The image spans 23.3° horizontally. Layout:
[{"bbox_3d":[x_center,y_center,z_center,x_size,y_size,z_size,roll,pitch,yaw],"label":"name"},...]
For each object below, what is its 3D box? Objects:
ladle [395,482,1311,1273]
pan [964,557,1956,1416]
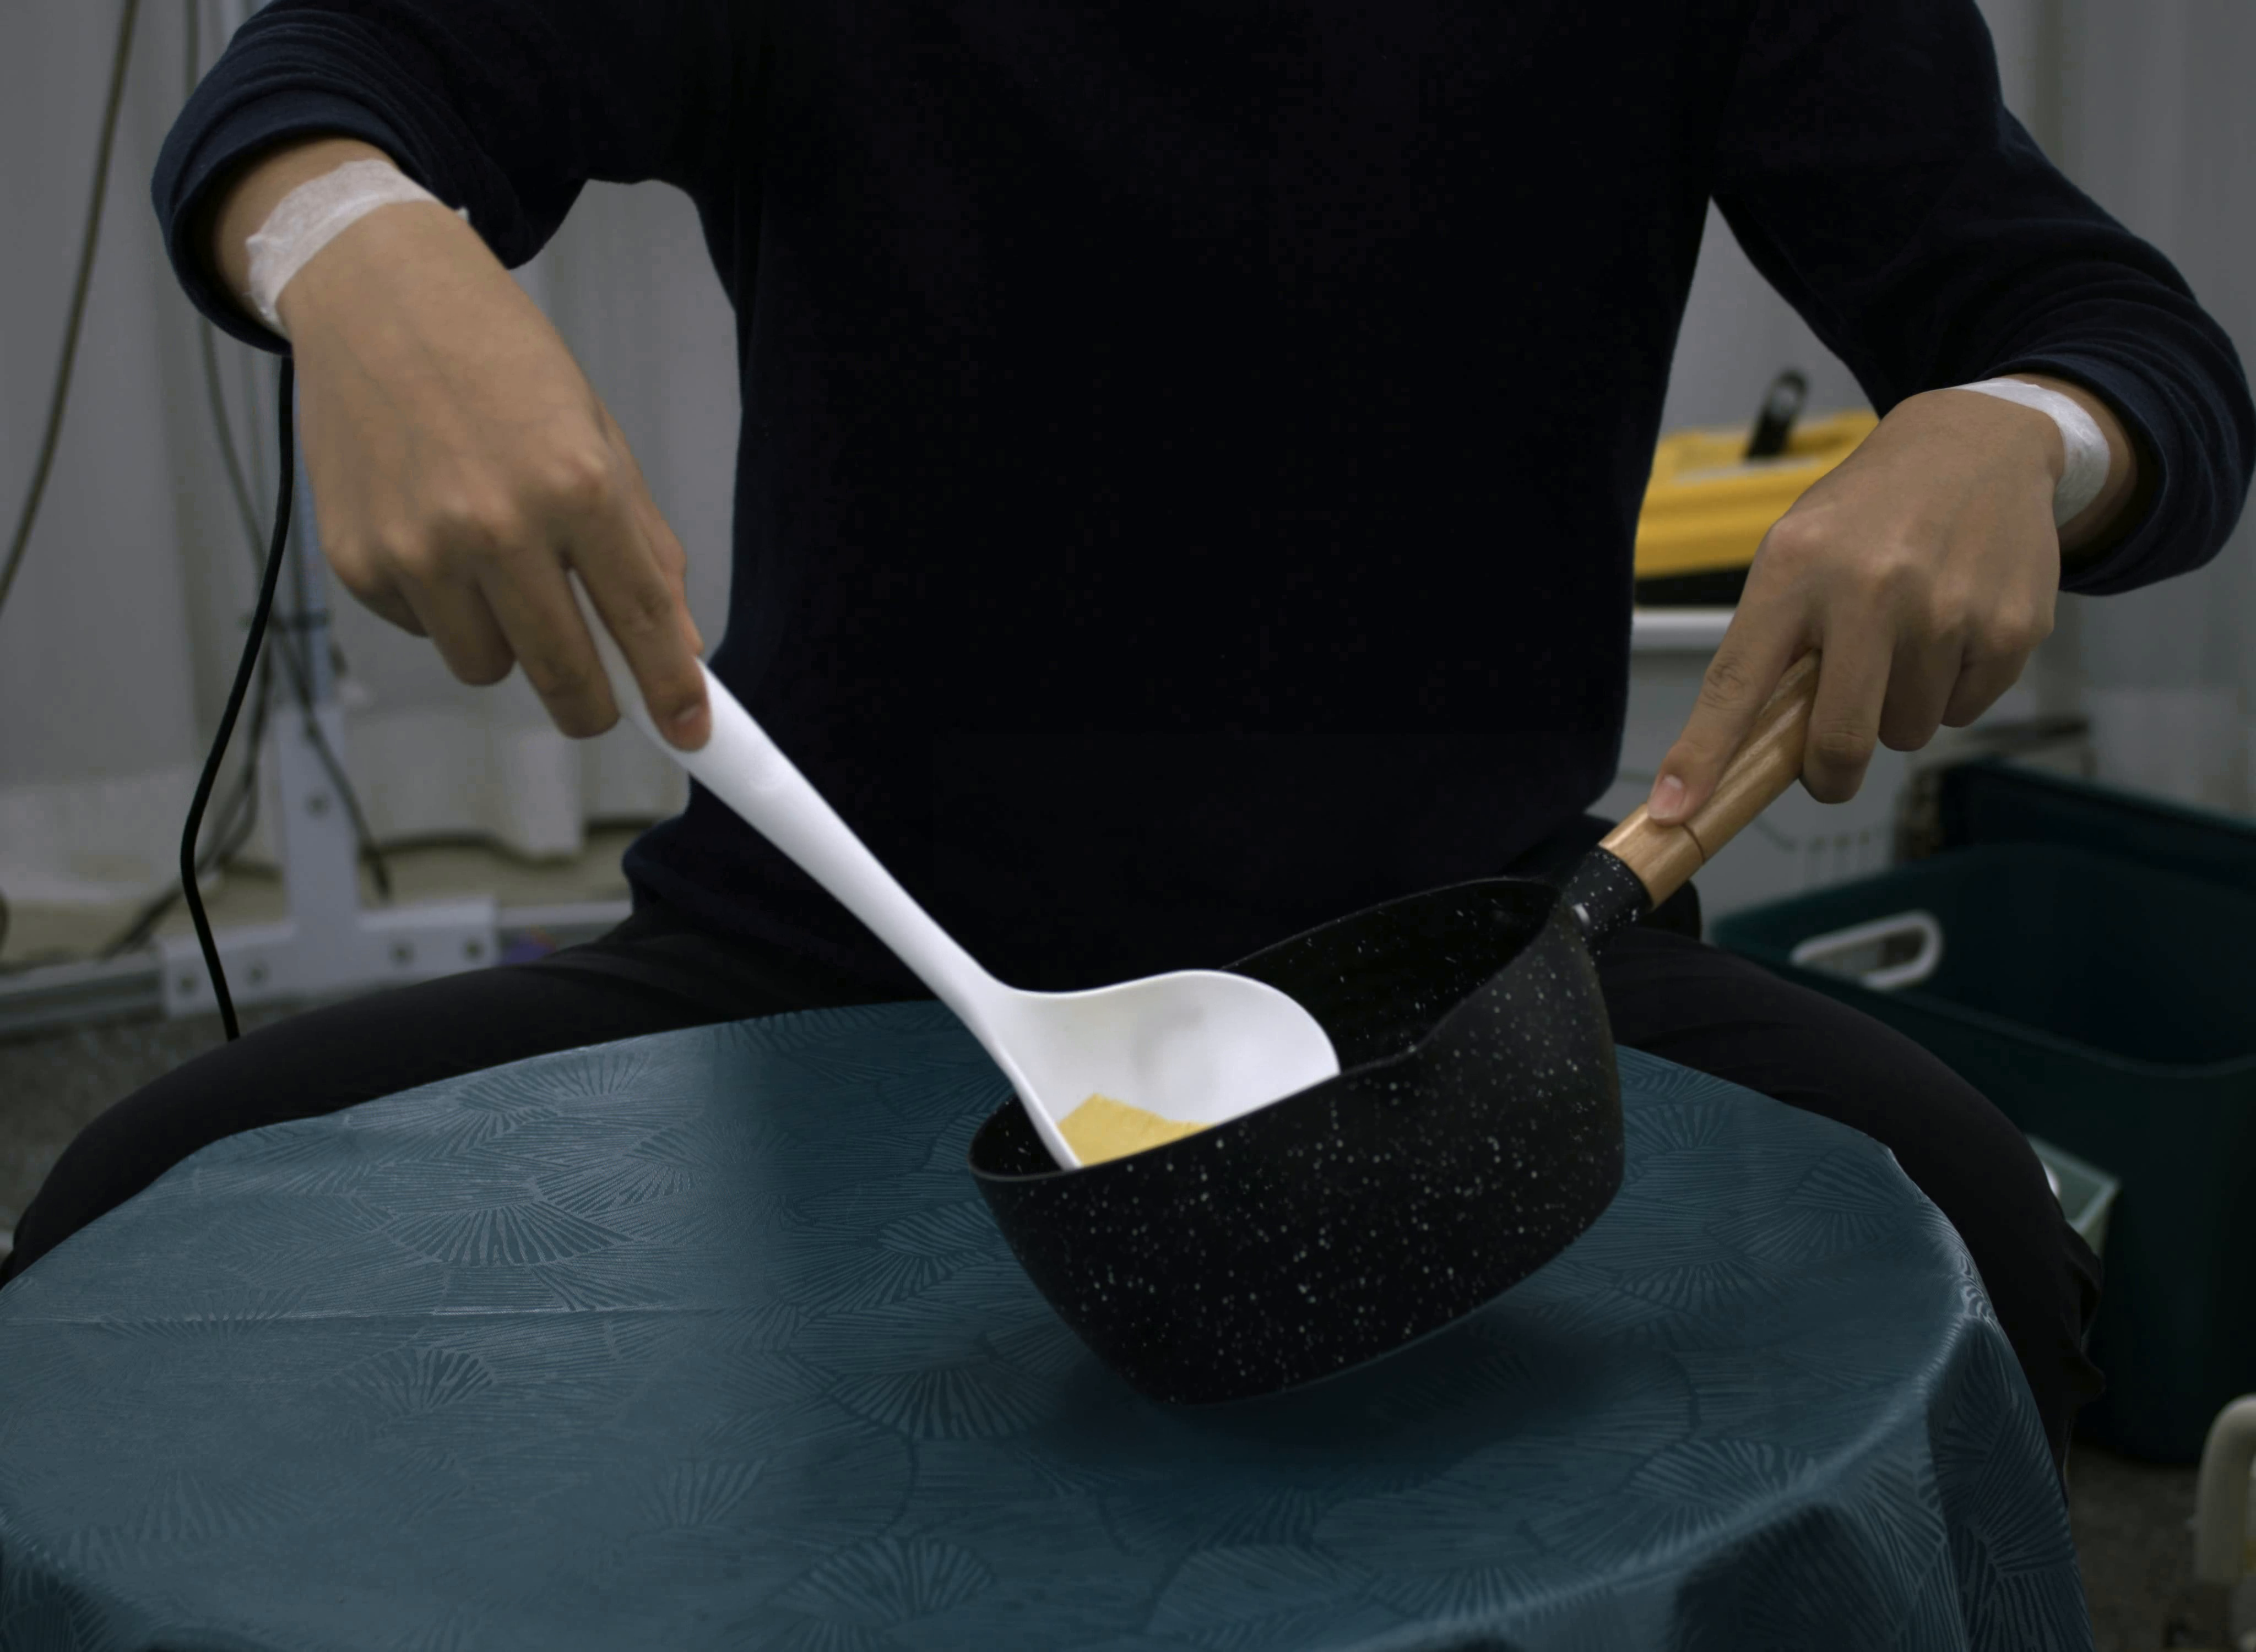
[{"bbox_3d":[-0.070,0.010,1.459,0.070,0.291,0.091,-21,31,53],"label":"ladle"},{"bbox_3d":[0.115,0.046,1.565,0.343,0.108,0.208,-30,10,-20],"label":"pan"}]
